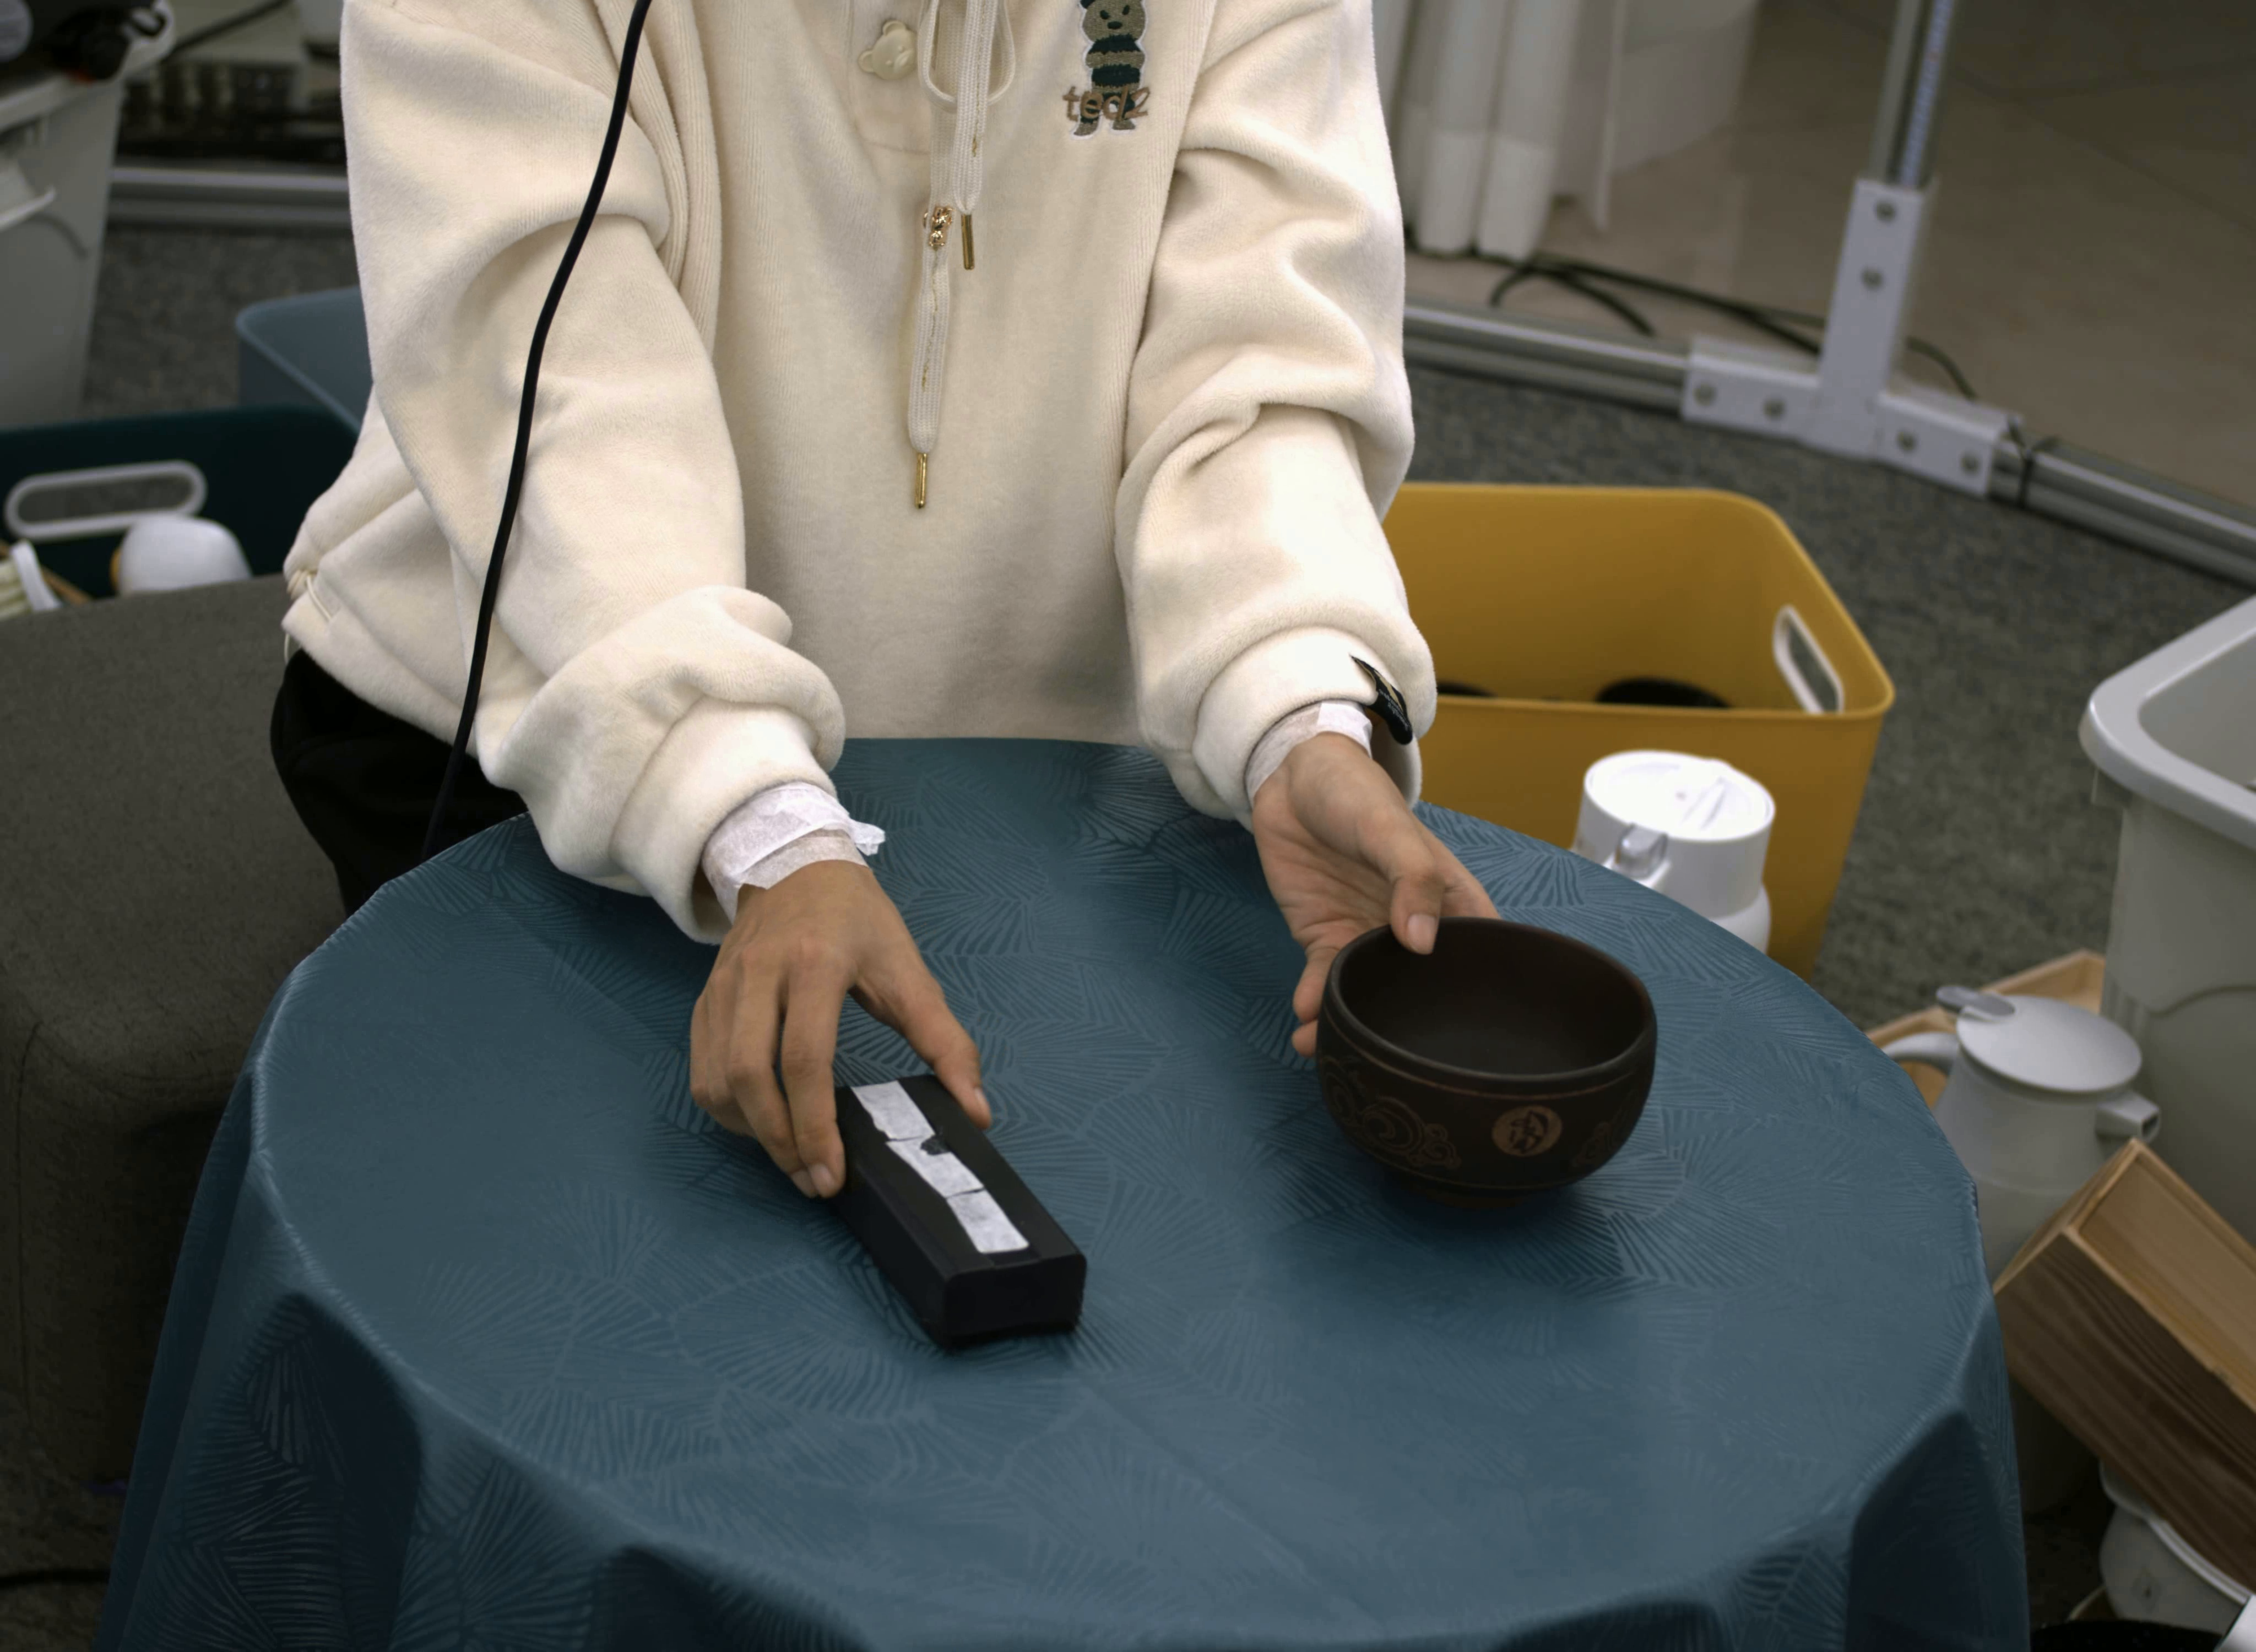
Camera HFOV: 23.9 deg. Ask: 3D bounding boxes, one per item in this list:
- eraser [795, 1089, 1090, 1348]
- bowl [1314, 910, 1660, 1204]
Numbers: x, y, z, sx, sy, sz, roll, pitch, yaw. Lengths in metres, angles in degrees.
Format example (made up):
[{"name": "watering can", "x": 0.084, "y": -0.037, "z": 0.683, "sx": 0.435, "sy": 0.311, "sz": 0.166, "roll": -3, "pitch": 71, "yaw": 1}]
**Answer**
[{"name": "eraser", "x": -0.062, "y": 0.128, "z": 1.750, "sx": 0.053, "sy": 0.030, "sz": 0.126, "roll": -6, "pitch": 27, "yaw": -26}, {"name": "bowl", "x": 0.121, "y": 0.086, "z": 1.823, "sx": 0.117, "sy": 0.069, "sz": 0.119, "roll": 4, "pitch": 26, "yaw": -3}]
